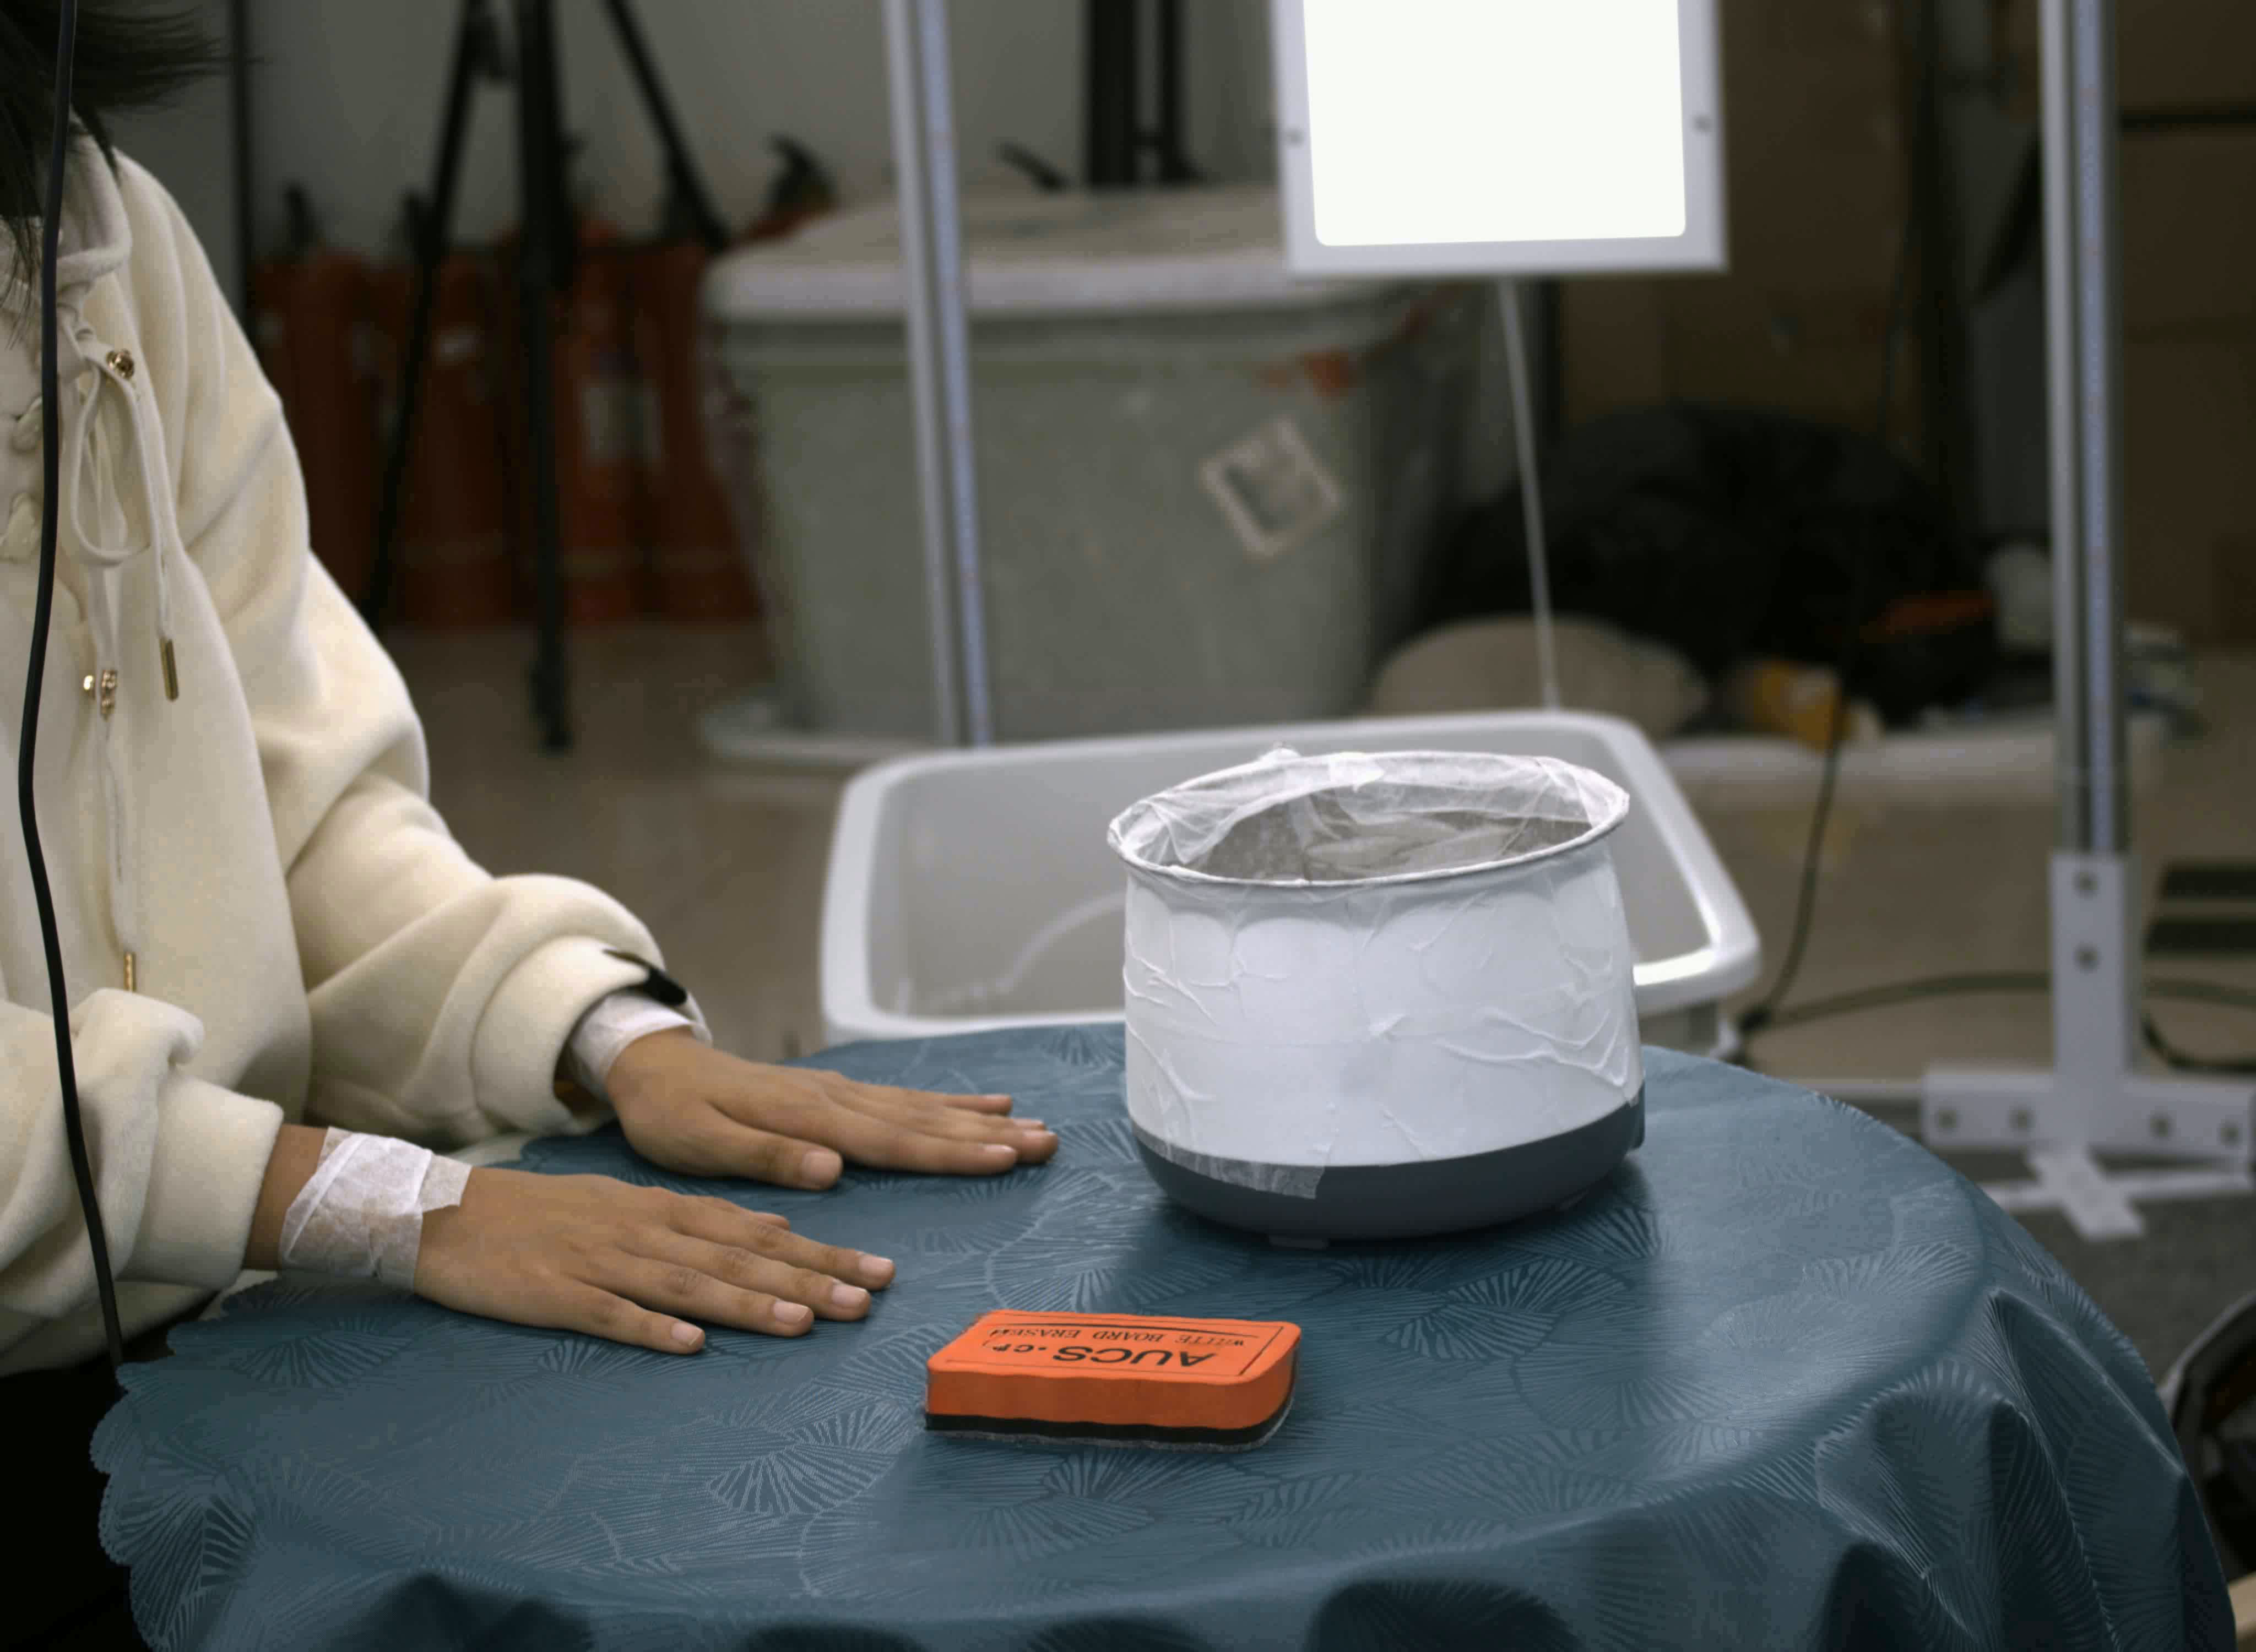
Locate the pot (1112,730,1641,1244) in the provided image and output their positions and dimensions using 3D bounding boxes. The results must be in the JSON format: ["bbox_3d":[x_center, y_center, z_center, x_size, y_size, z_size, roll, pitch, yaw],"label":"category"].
[{"bbox_3d":[0.077,0.049,1.887,0.176,0.137,0.236,-7,15,-15],"label":"pot"}]

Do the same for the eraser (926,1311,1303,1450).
[{"bbox_3d":[-0.004,0.168,1.679,0.109,0.023,0.058,1,12,23],"label":"eraser"}]
